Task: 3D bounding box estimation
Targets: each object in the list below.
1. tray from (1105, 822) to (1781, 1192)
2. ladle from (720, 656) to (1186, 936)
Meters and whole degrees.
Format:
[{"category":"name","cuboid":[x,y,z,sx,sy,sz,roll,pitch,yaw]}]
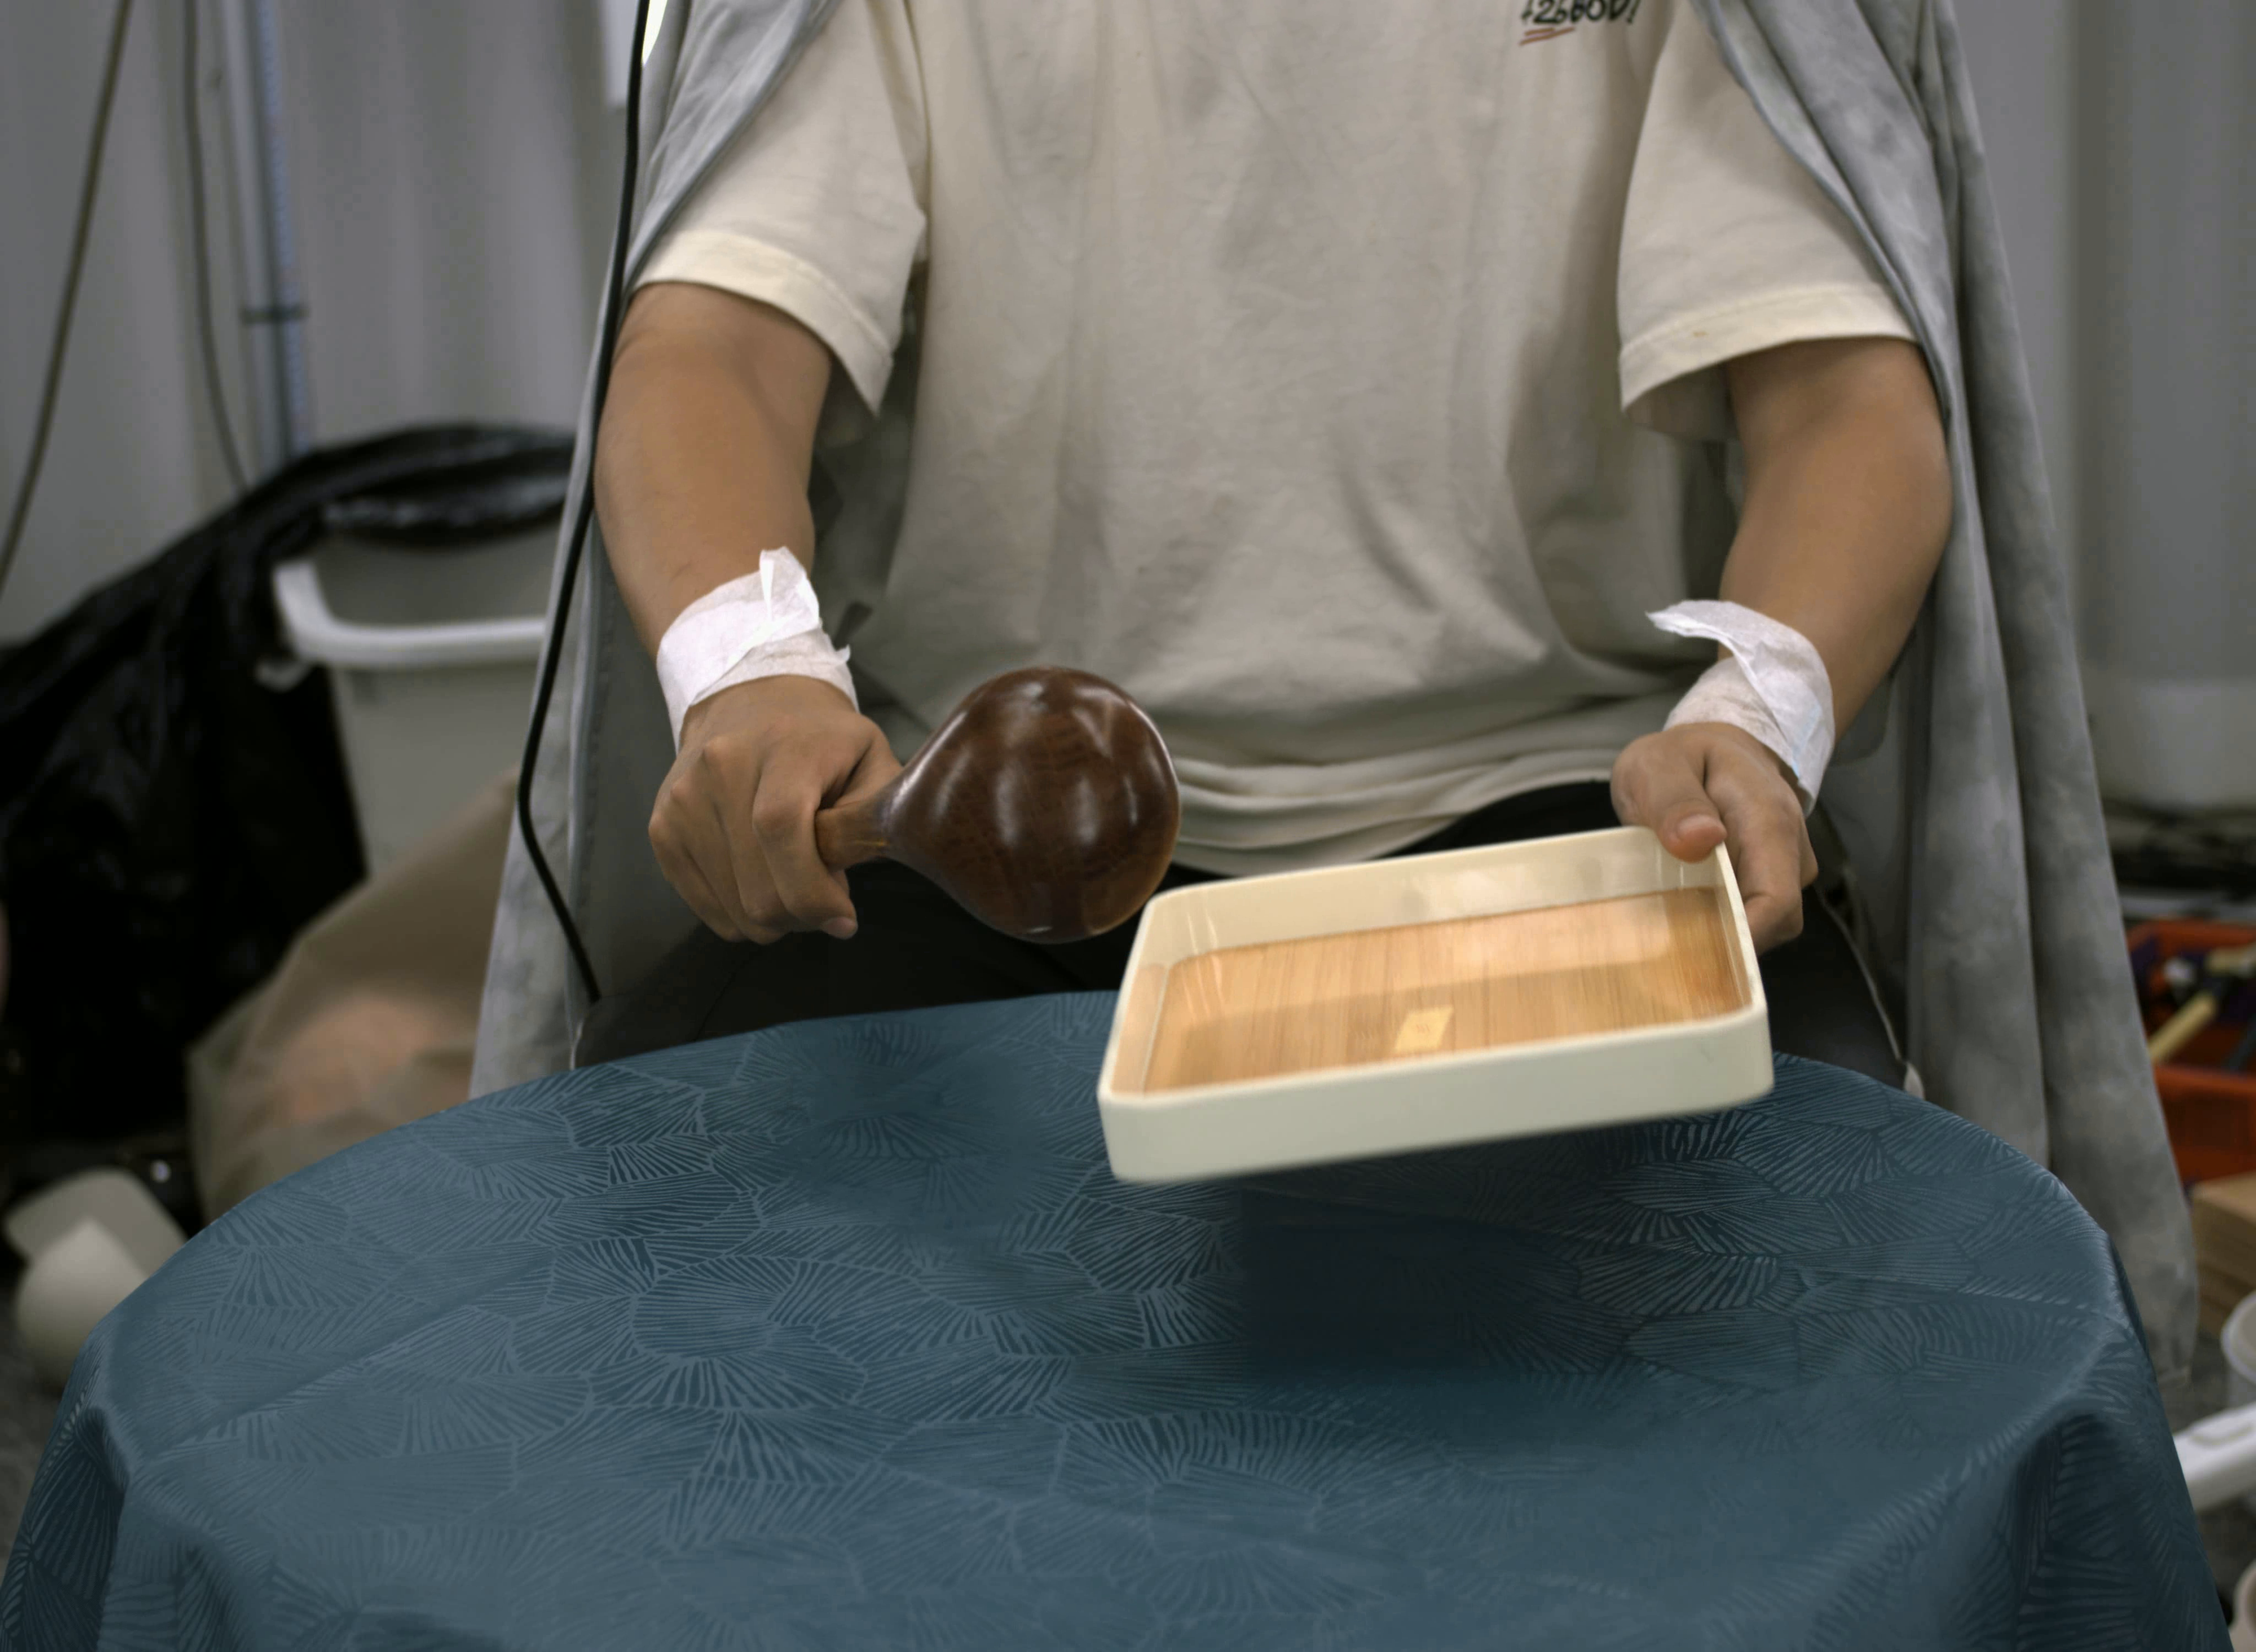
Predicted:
[{"category":"tray","cuboid":[0.095,0.052,1.661,0.191,0.027,0.301,-8,10,5]},{"category":"ladle","cuboid":[-0.057,0.000,1.688,0.076,0.082,0.274,4,-6,-17]}]
